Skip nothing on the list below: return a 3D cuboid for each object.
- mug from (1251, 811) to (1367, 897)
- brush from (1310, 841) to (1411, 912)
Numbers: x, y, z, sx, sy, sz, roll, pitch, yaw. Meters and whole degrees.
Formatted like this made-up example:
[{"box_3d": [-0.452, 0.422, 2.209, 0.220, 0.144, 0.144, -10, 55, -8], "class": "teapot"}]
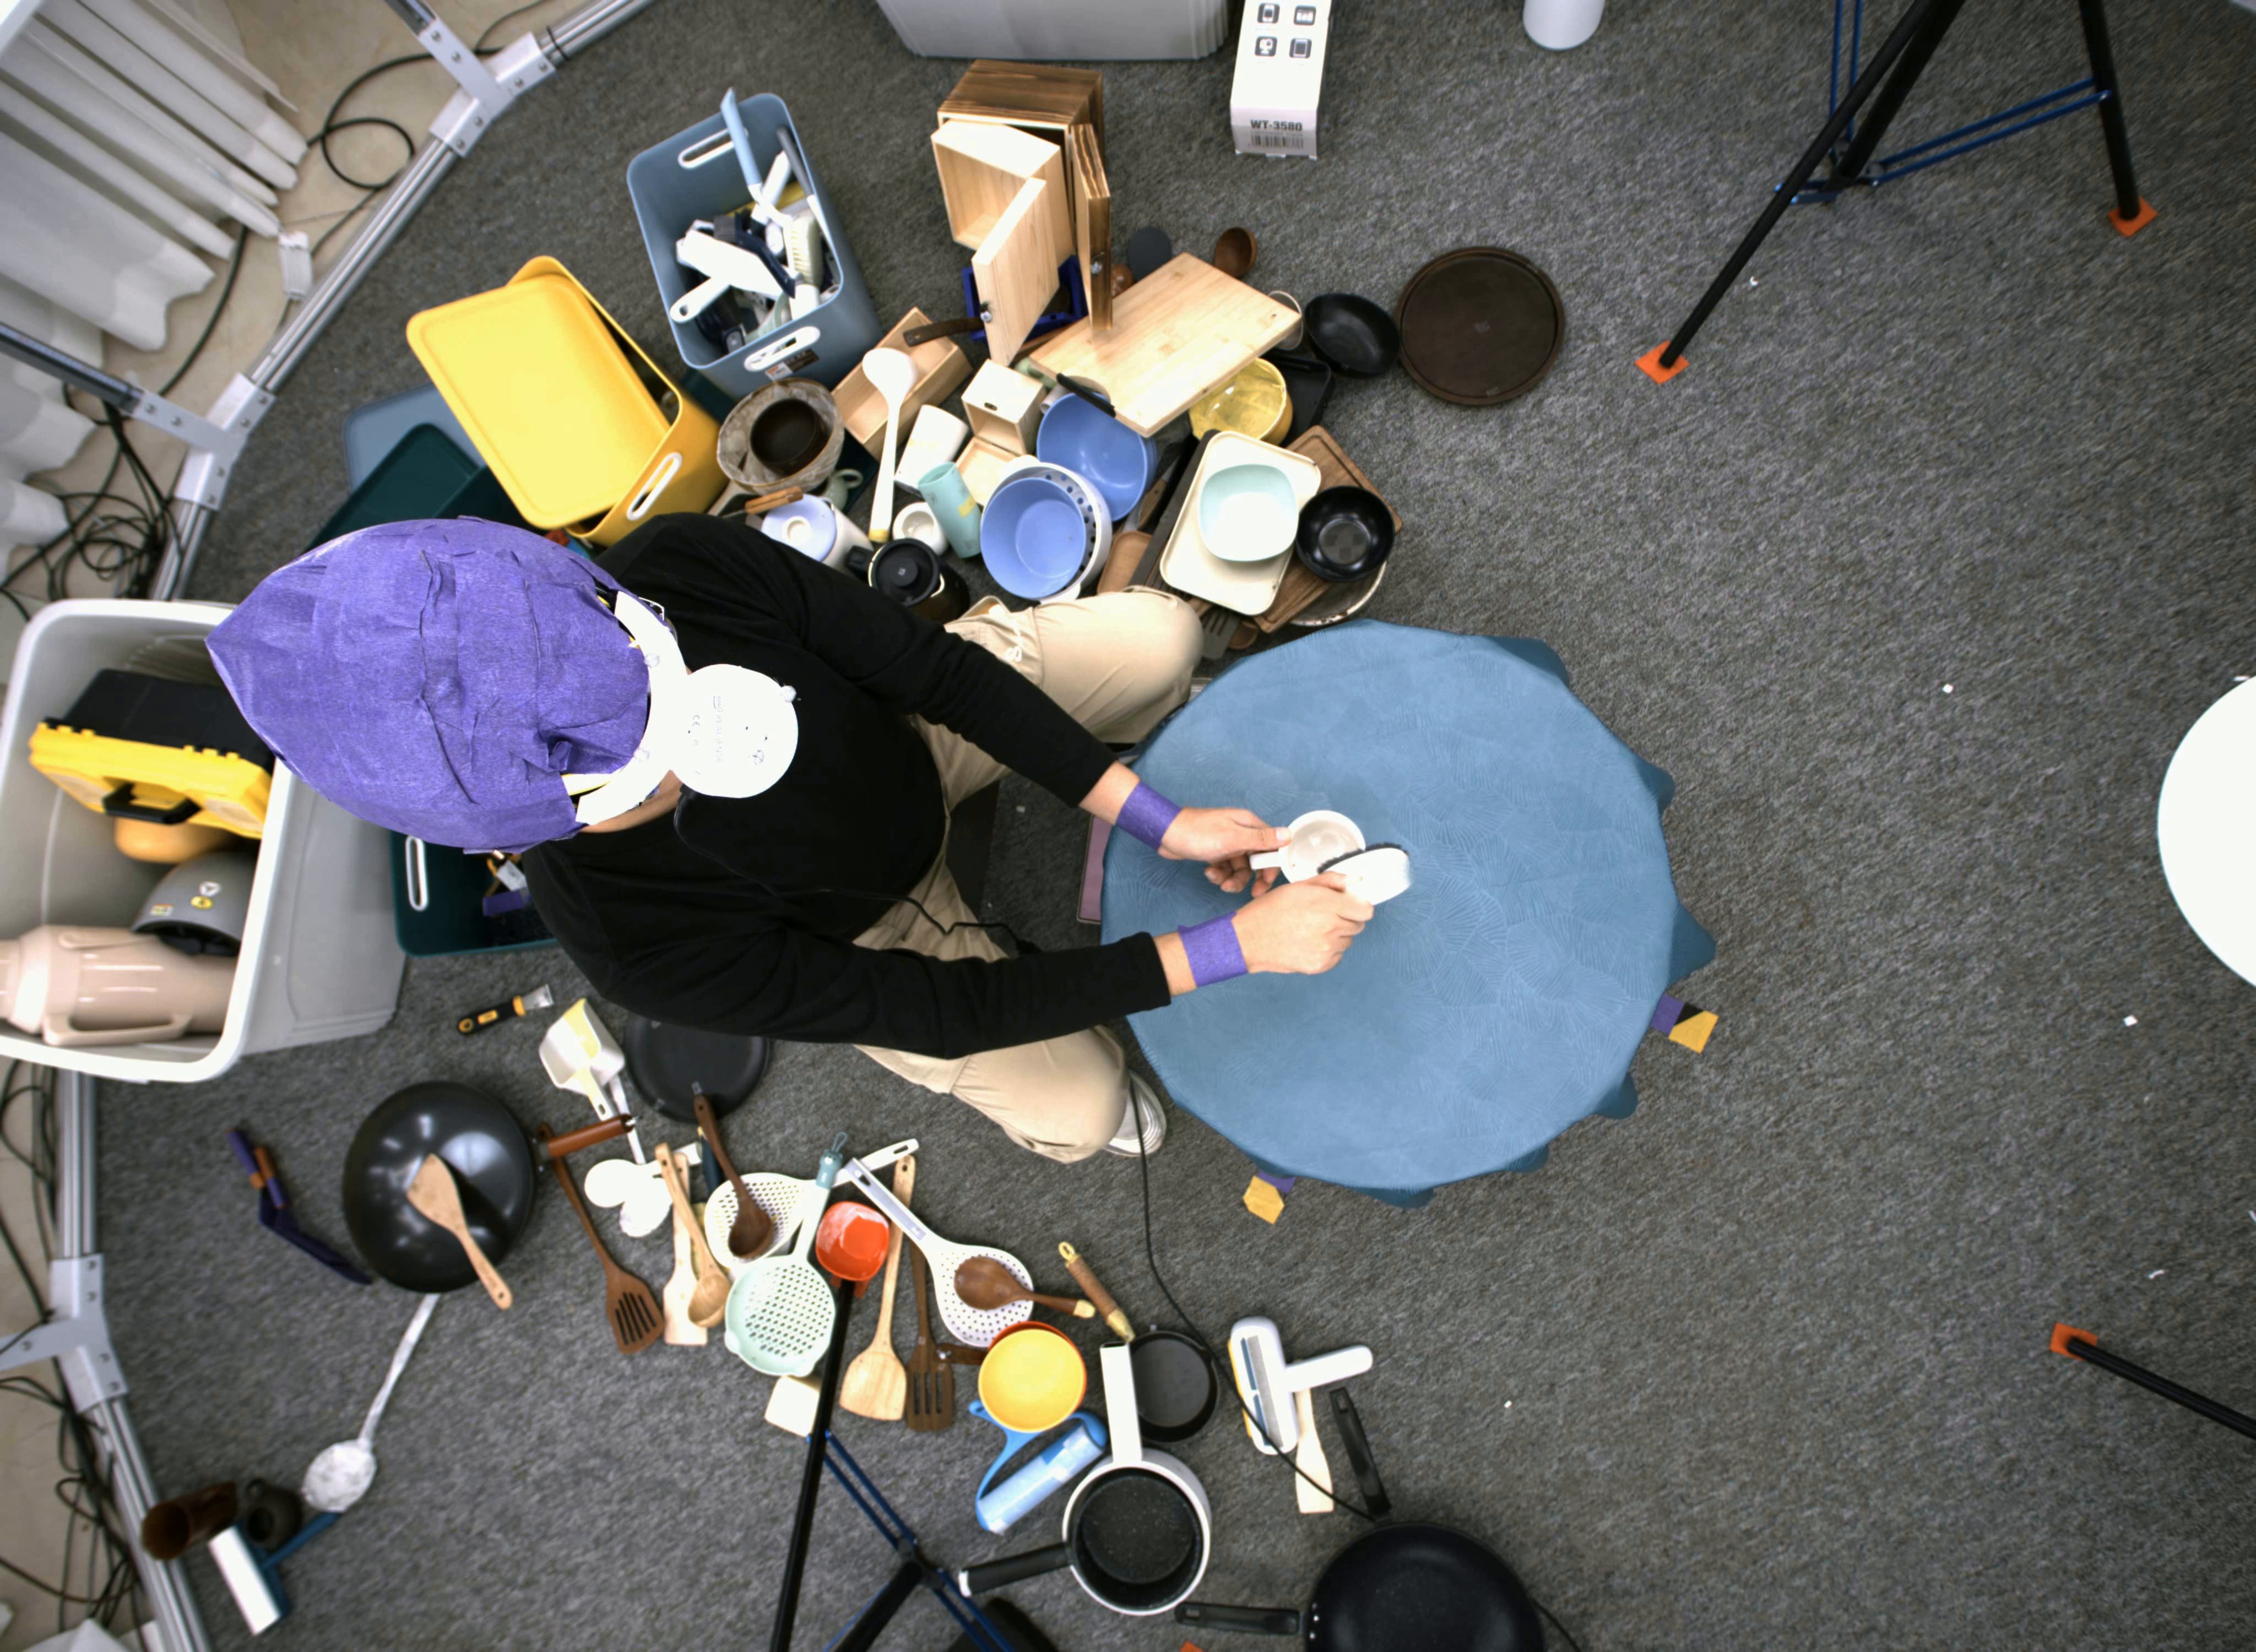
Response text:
[{"box_3d": [0.186, 0.033, 1.422, 0.119, 0.102, 0.084, -7, 85, 8], "class": "mug"}, {"box_3d": [0.222, 0.053, 1.323, 0.100, 0.071, 0.050, -19, 99, 12], "class": "brush"}]
